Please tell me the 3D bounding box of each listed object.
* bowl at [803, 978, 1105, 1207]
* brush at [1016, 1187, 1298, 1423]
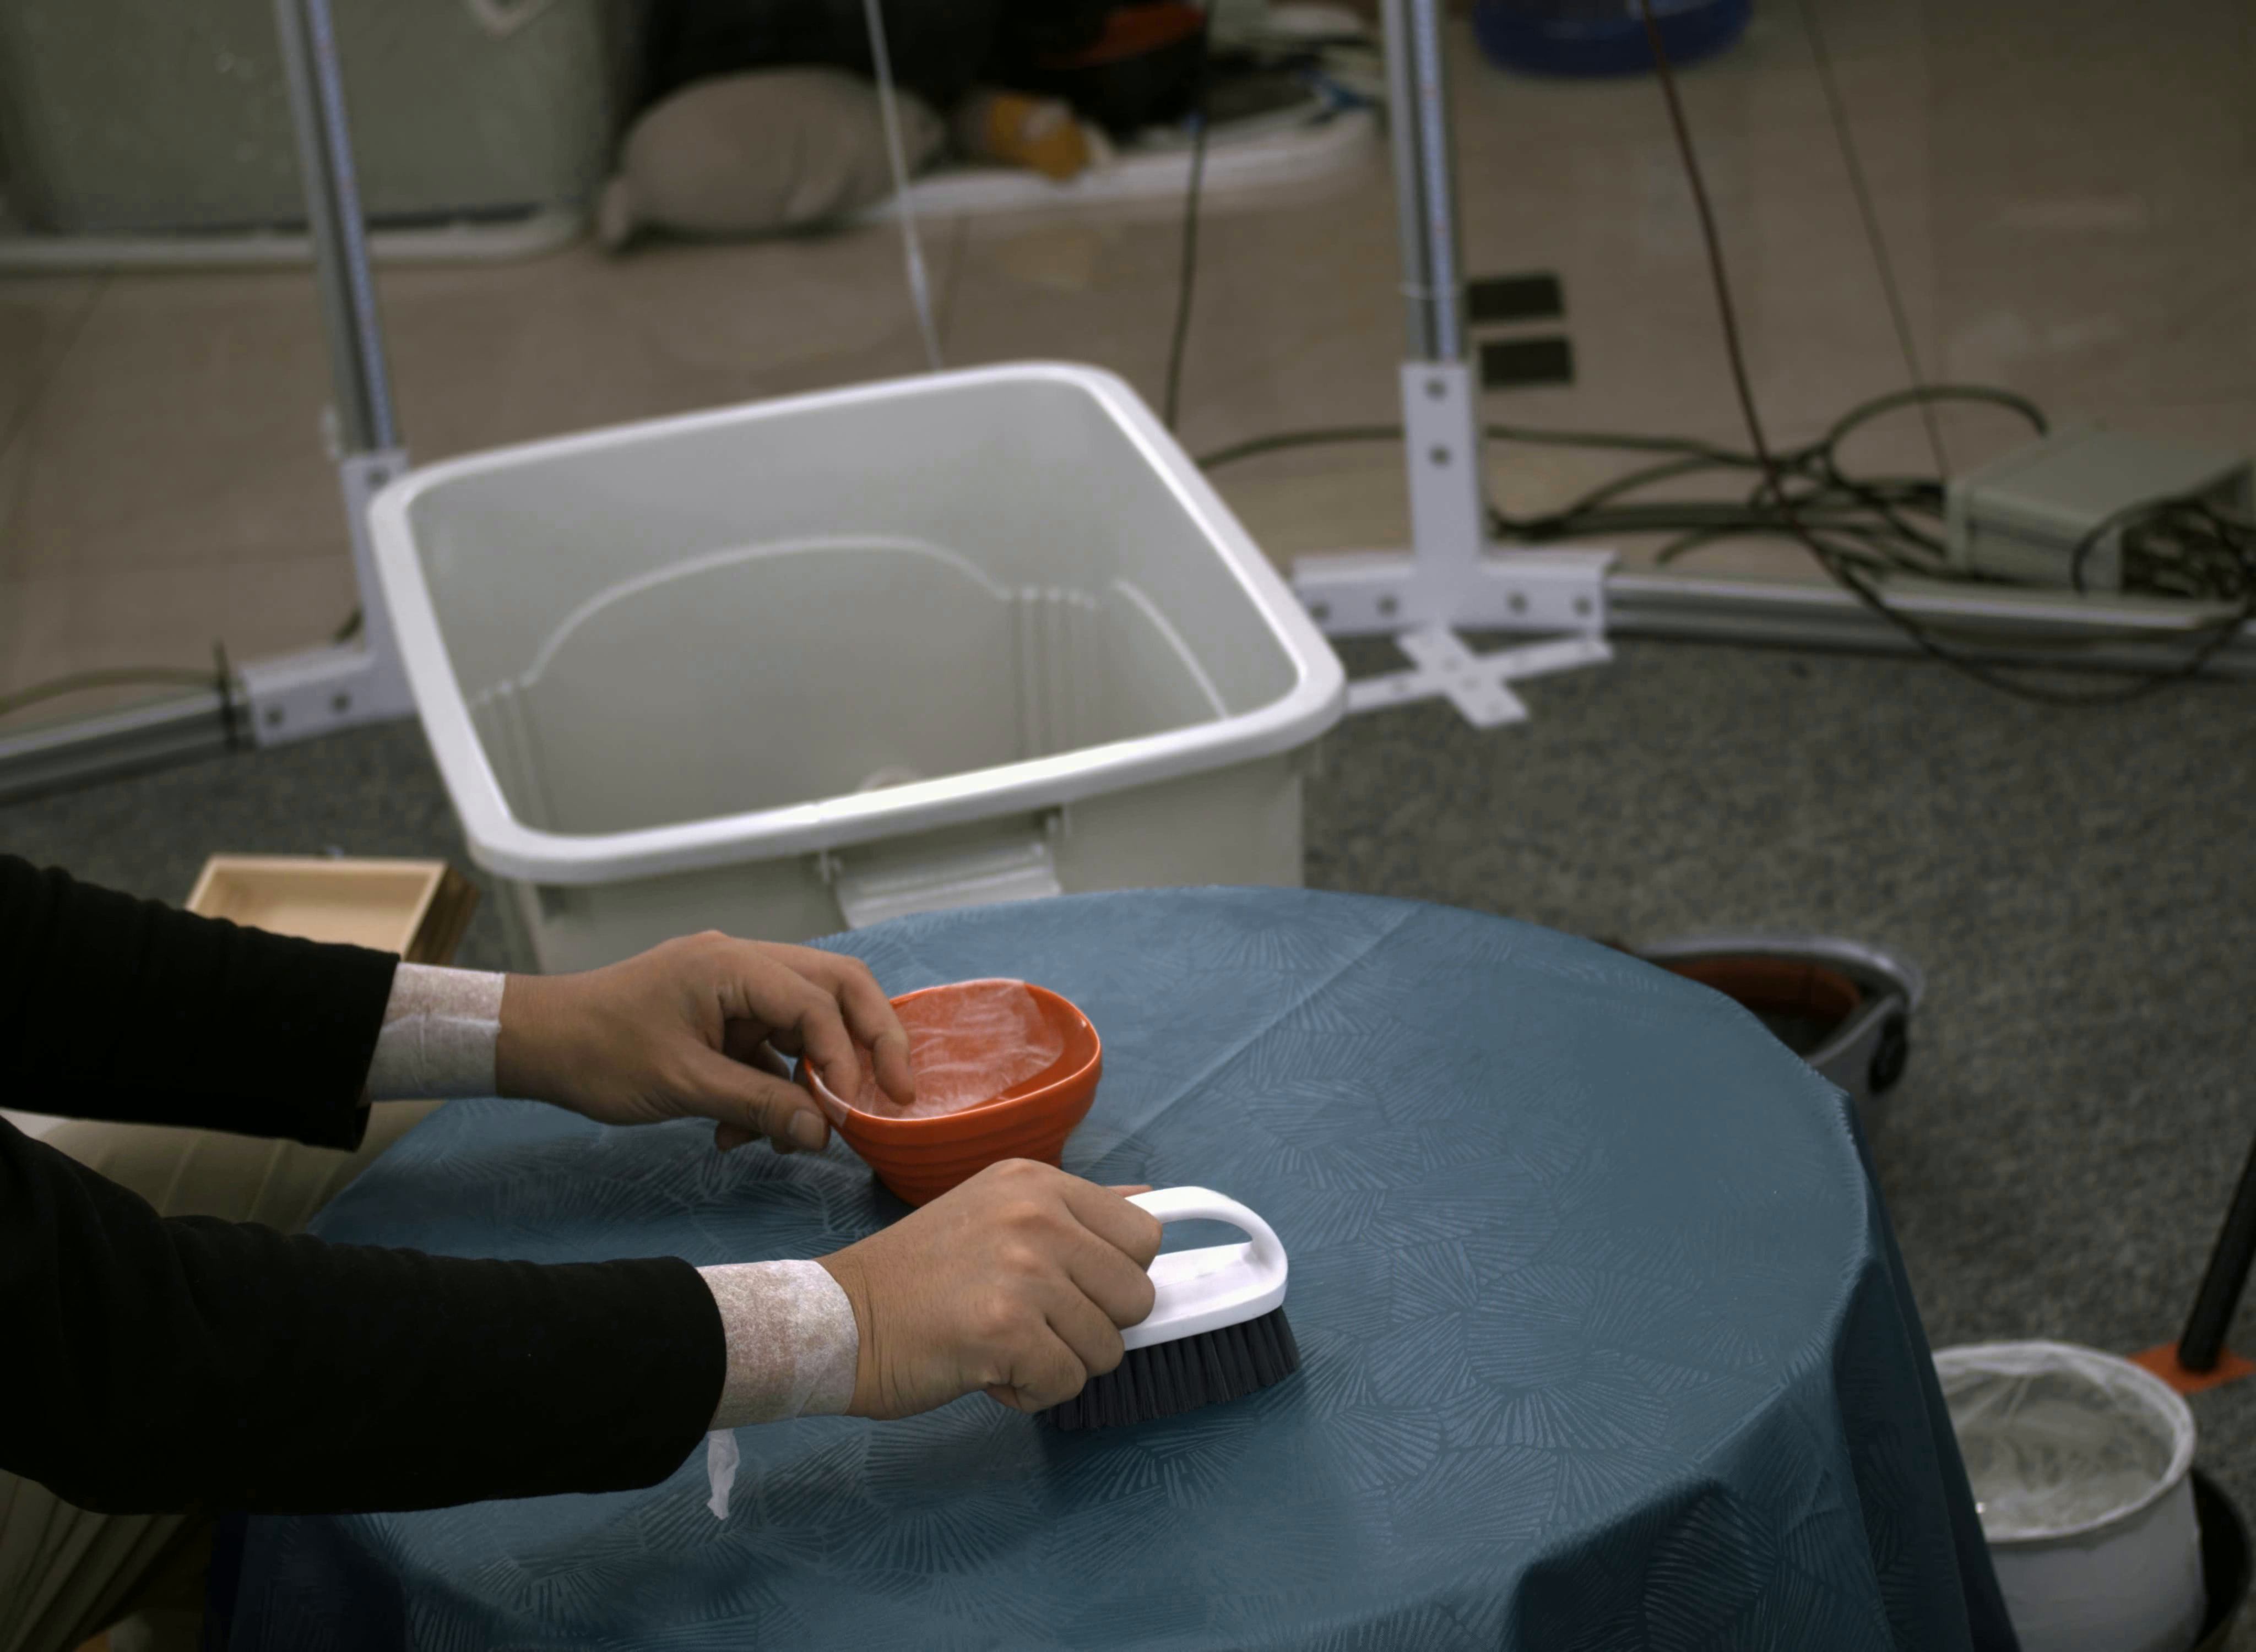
[{"bbox_3d":[-0.065,0.106,2.171,0.119,0.052,0.117,-3,25,1],"label":"bowl"},{"bbox_3d":[0.008,0.164,2.004,0.099,0.073,0.049,-11,27,-10],"label":"brush"}]
